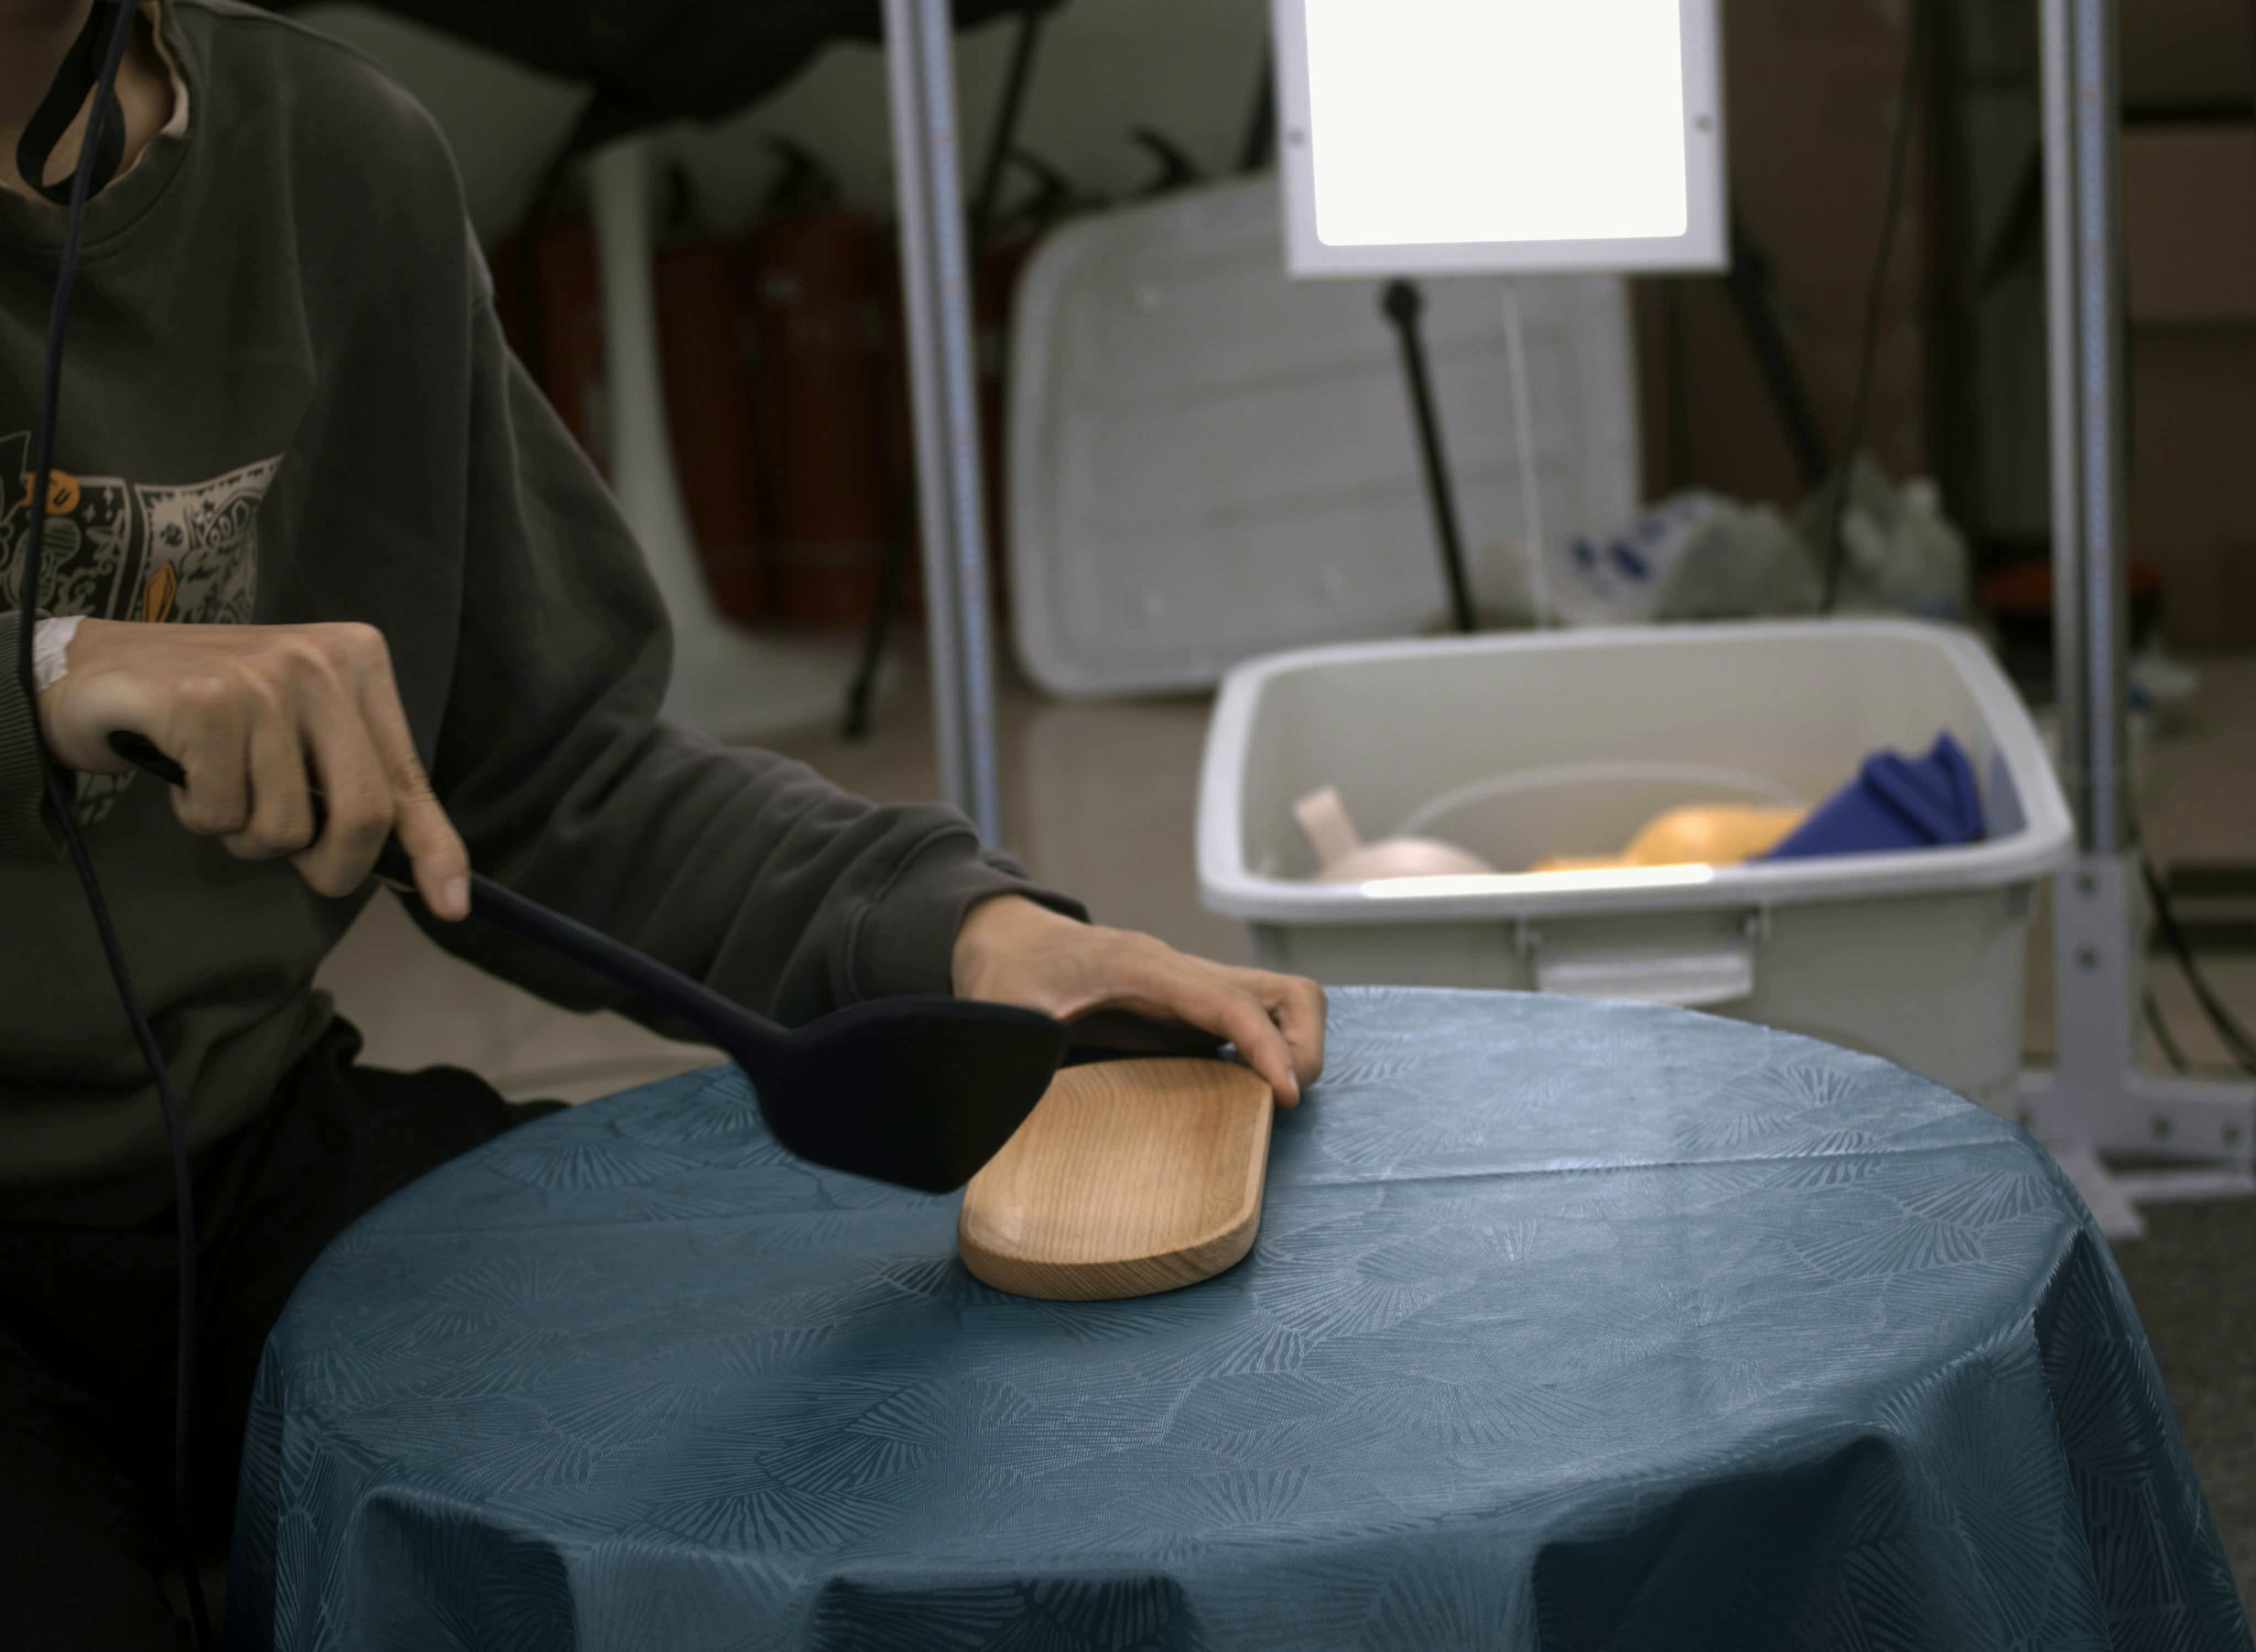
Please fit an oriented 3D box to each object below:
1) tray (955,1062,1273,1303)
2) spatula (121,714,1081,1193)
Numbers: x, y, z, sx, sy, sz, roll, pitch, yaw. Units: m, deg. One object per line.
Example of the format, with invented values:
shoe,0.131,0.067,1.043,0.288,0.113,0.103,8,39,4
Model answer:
tray,-0.002,0.120,1.890,0.102,0.020,0.230,-5,15,5
spatula,-0.175,0.032,1.791,0.324,0.101,0.040,27,38,-8
